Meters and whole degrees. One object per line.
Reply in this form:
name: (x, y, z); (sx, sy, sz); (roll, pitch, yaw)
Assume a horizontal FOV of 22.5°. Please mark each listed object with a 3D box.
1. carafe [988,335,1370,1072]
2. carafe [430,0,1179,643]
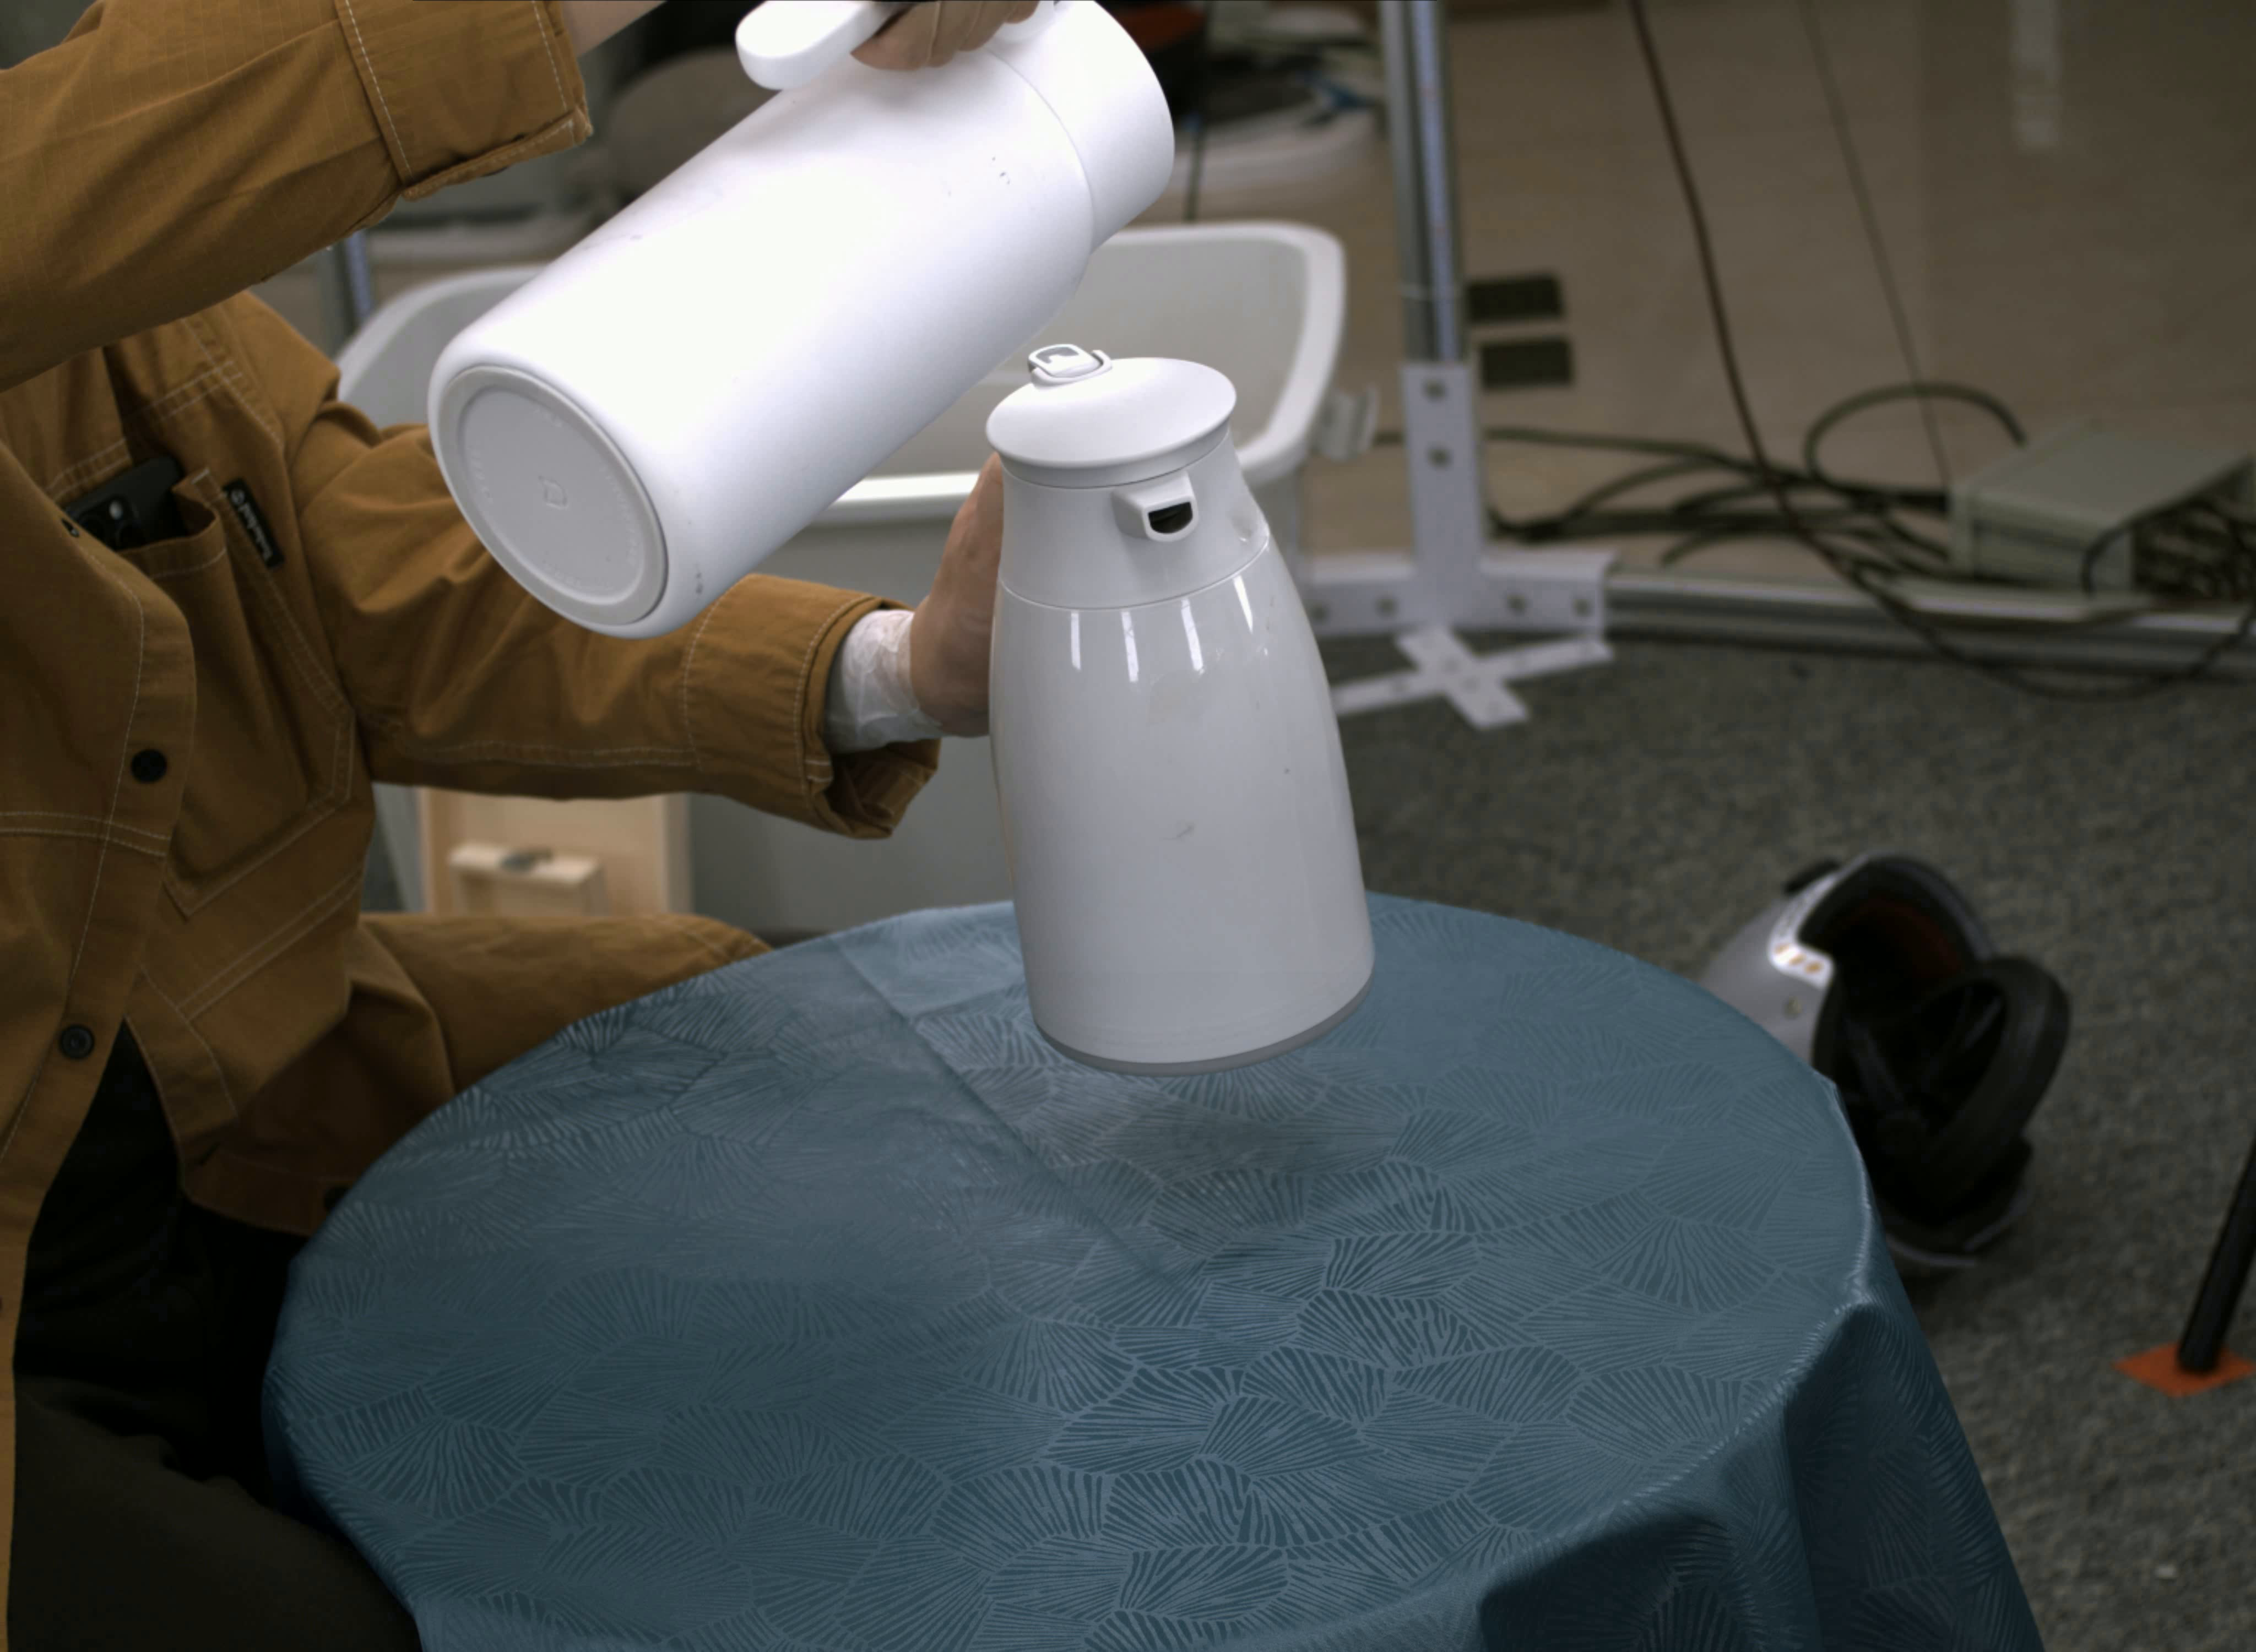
carafe: (0.004, -0.056, 2.097); (0.132, 0.253, 0.165); (-16, 28, -12)
carafe: (-0.103, -0.190, 1.858); (0.123, 0.176, 0.266); (30, 54, 29)
